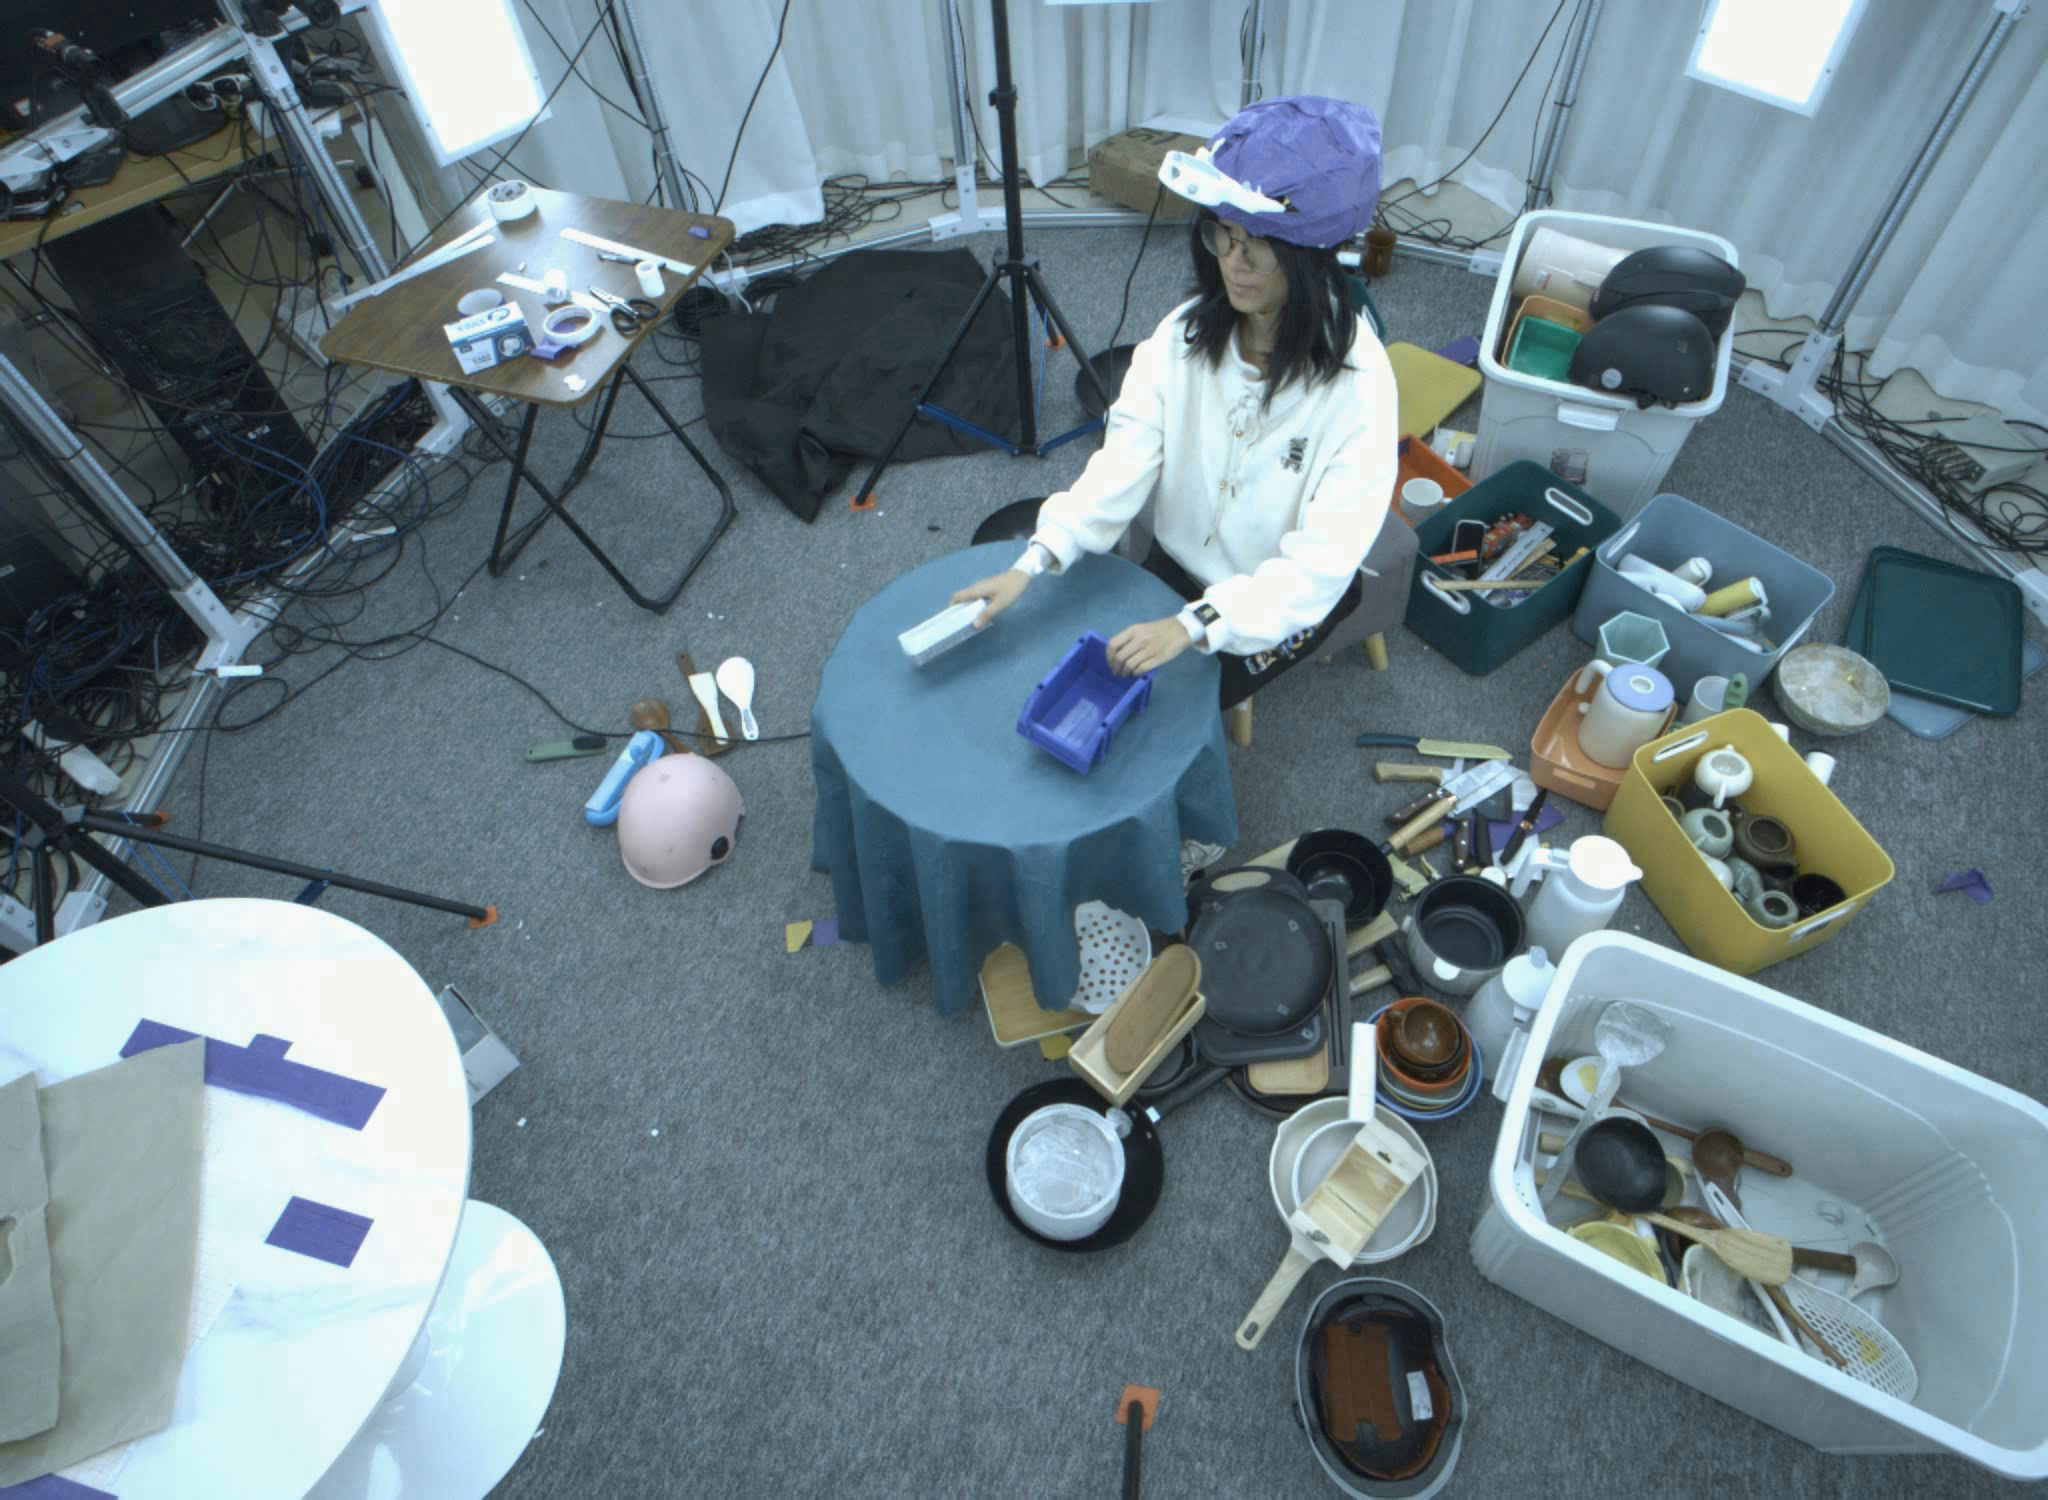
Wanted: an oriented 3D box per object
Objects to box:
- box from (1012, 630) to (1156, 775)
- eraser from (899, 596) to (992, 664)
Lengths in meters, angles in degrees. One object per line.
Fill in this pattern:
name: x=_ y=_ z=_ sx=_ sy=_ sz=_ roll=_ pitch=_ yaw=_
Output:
box: x=0.086 y=-0.063 z=1.753 sx=0.123 sy=0.082 sz=0.180 roll=34 pitch=58 yaw=15
eraser: x=-0.118 y=-0.182 z=1.854 sx=0.135 sy=0.047 sz=0.049 roll=-34 pitch=22 yaw=-17
